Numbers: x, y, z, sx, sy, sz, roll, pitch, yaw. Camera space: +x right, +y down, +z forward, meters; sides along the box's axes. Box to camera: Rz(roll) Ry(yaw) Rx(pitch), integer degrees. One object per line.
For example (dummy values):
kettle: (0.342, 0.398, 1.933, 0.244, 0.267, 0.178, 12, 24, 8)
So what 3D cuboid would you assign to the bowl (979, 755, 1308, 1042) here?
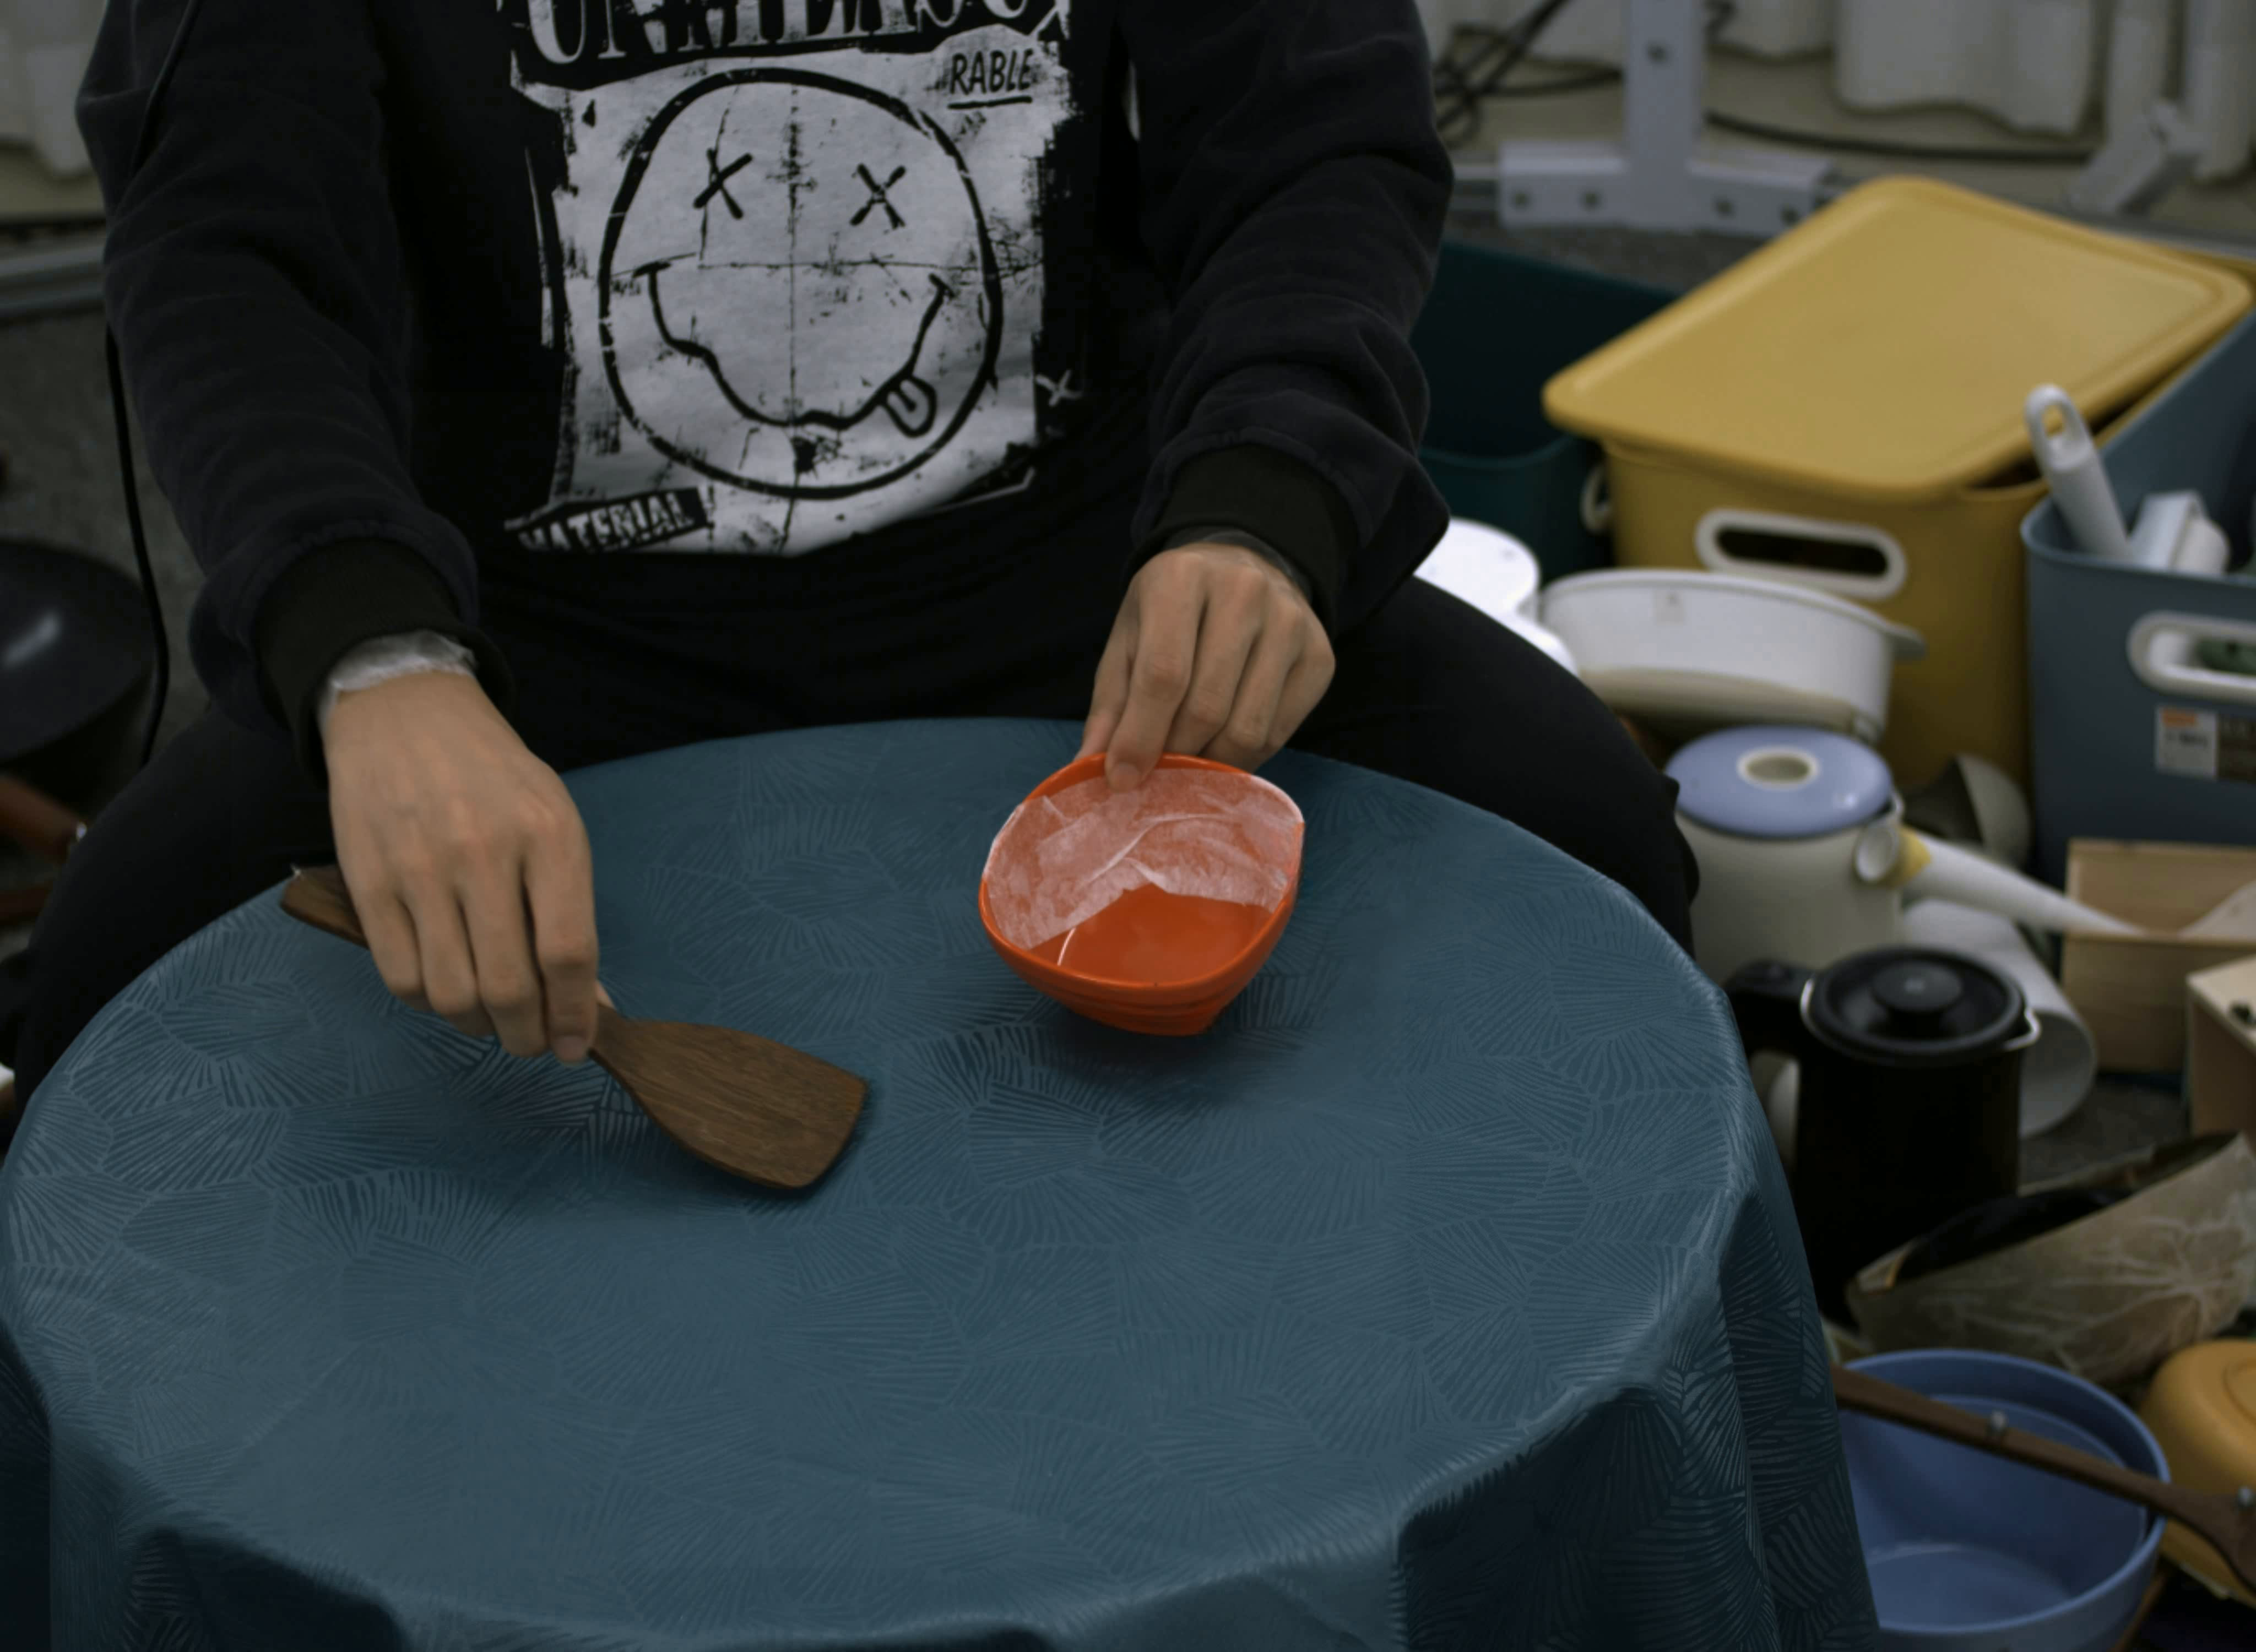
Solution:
bowl: (0.008, 0.032, 1.961, 0.118, 0.050, 0.121, -4, 45, 5)

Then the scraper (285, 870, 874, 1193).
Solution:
scraper: (-0.188, 0.065, 1.898, 0.211, 0.010, 0.077, 25, 33, 4)
